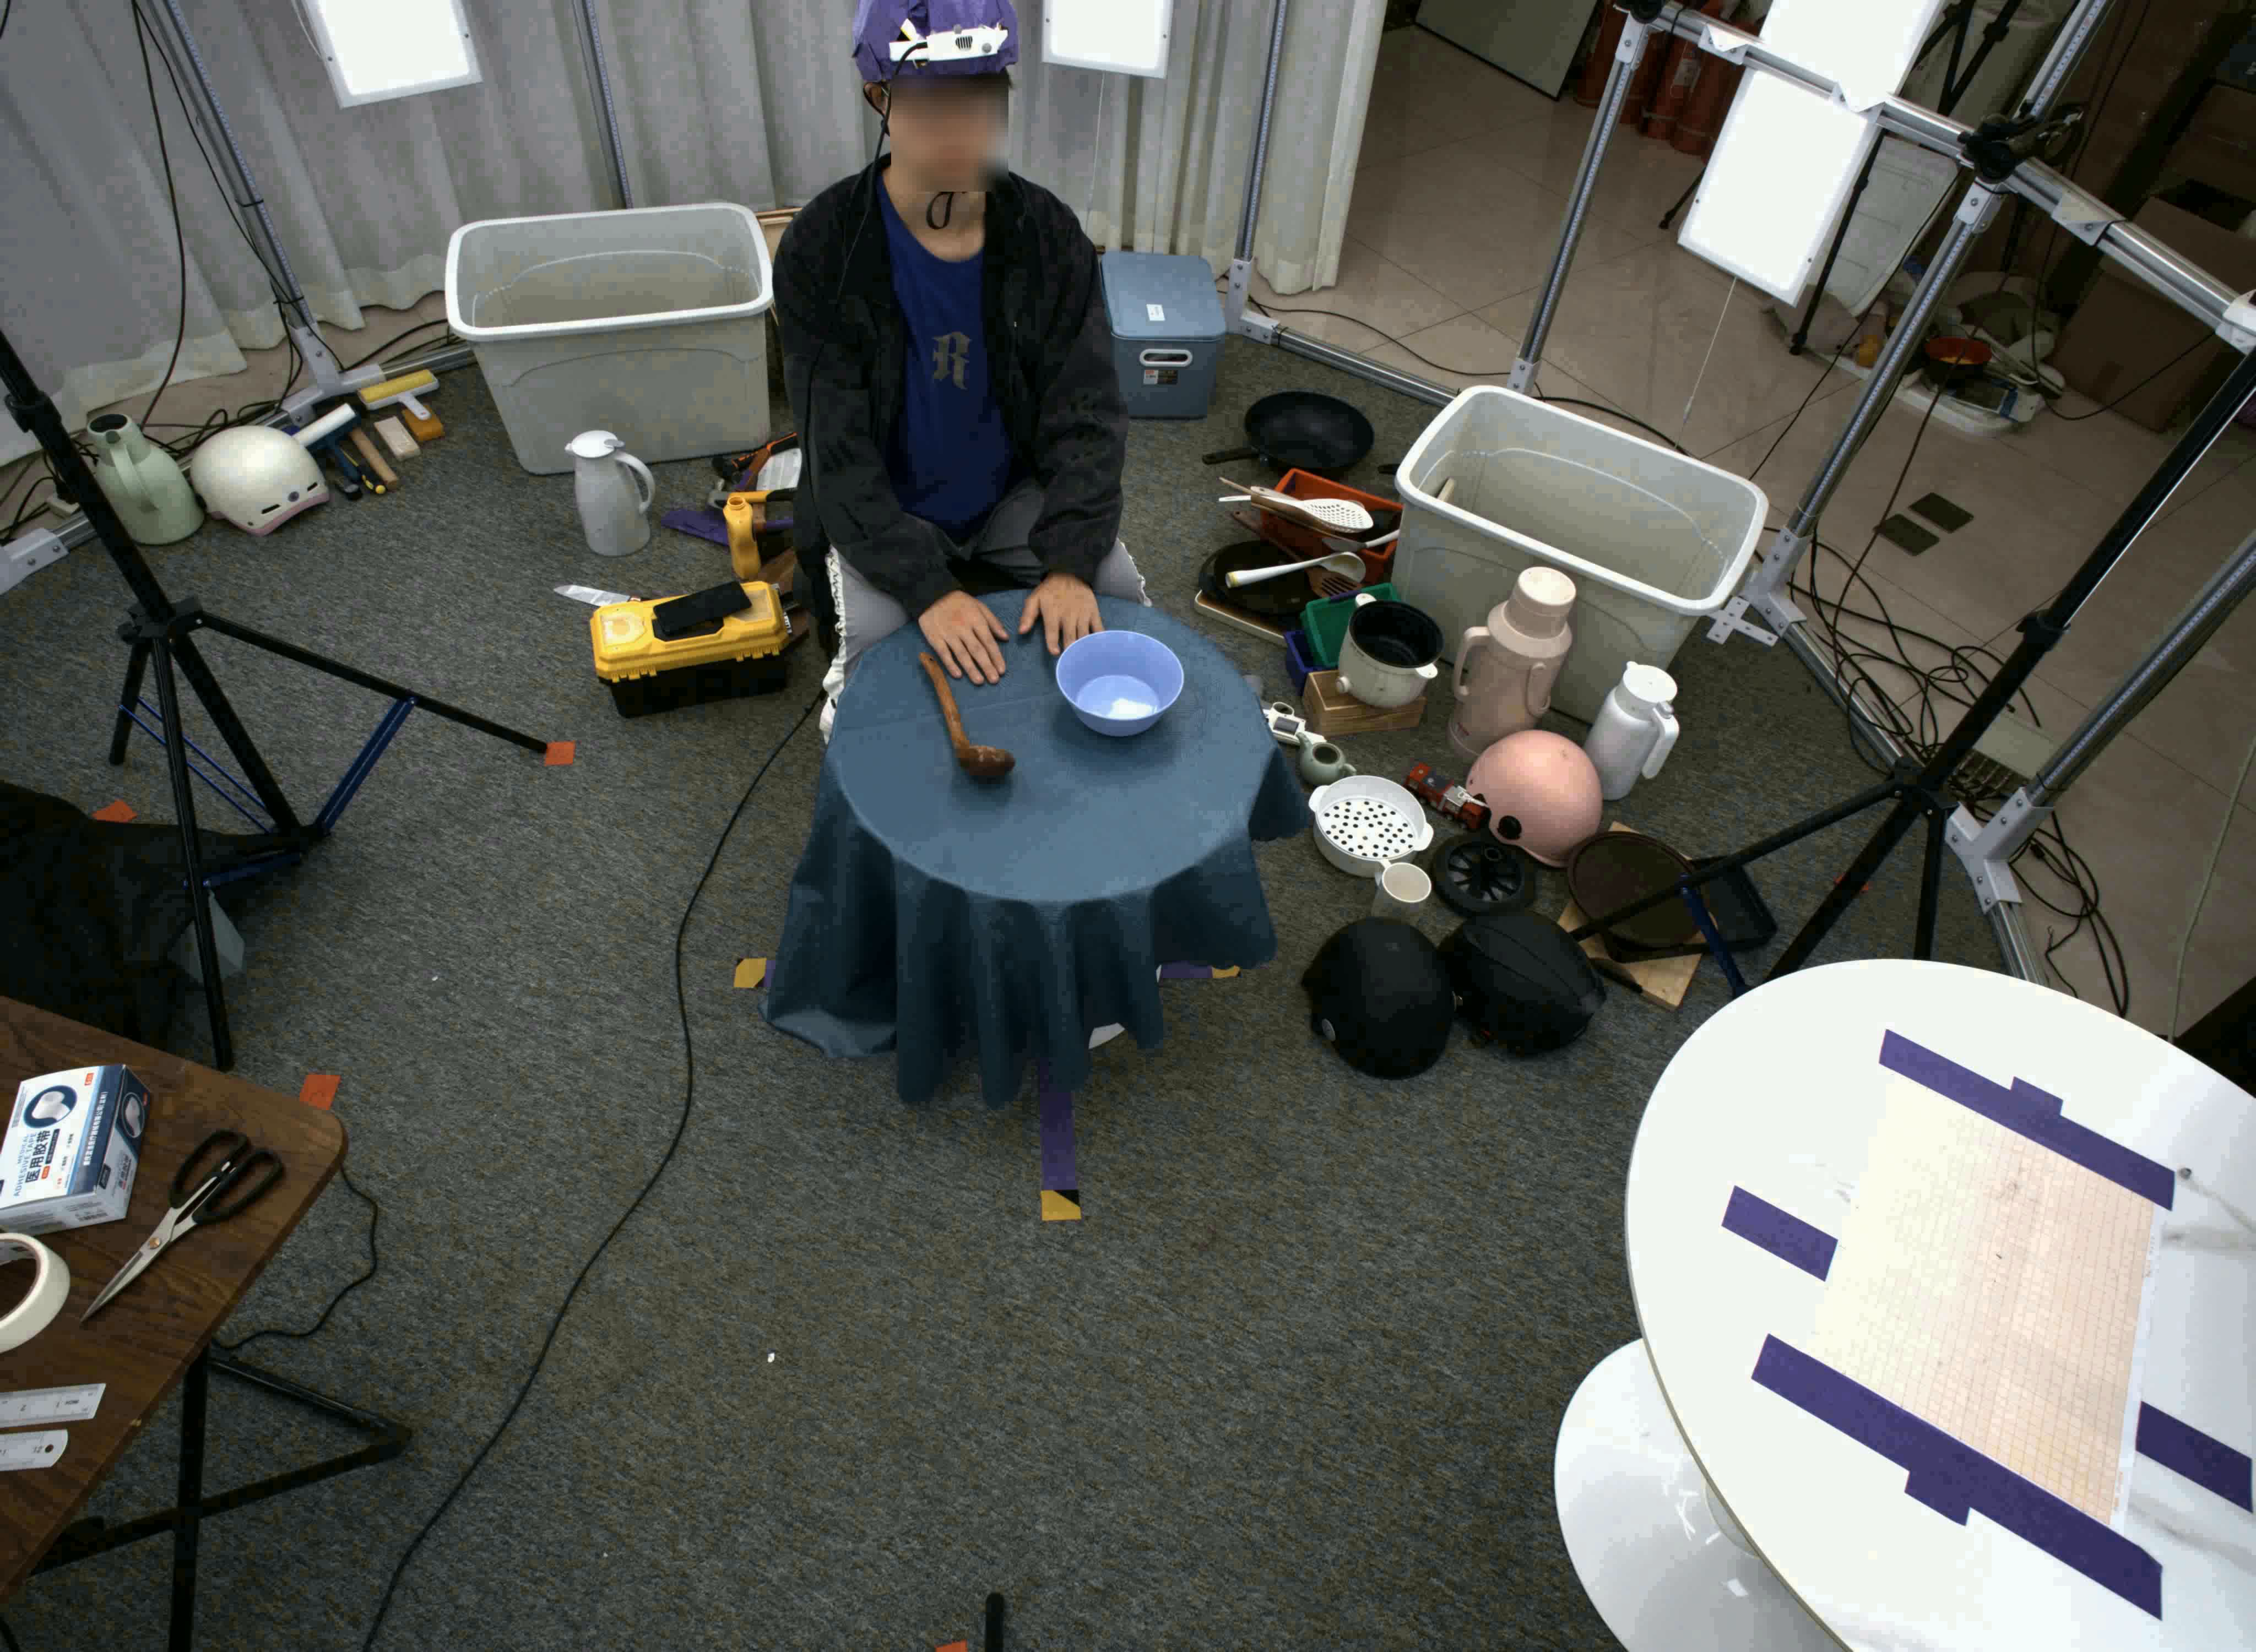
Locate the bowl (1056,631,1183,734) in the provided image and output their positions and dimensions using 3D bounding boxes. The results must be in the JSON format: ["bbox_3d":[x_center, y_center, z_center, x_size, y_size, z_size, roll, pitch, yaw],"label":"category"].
[{"bbox_3d":[-0.013,-0.192,1.792,0.176,0.068,0.180,2,49,-2],"label":"bowl"}]

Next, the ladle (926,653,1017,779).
[{"bbox_3d":[-0.221,-0.166,1.758,0.080,0.076,0.281,28,30,-43],"label":"ladle"}]
